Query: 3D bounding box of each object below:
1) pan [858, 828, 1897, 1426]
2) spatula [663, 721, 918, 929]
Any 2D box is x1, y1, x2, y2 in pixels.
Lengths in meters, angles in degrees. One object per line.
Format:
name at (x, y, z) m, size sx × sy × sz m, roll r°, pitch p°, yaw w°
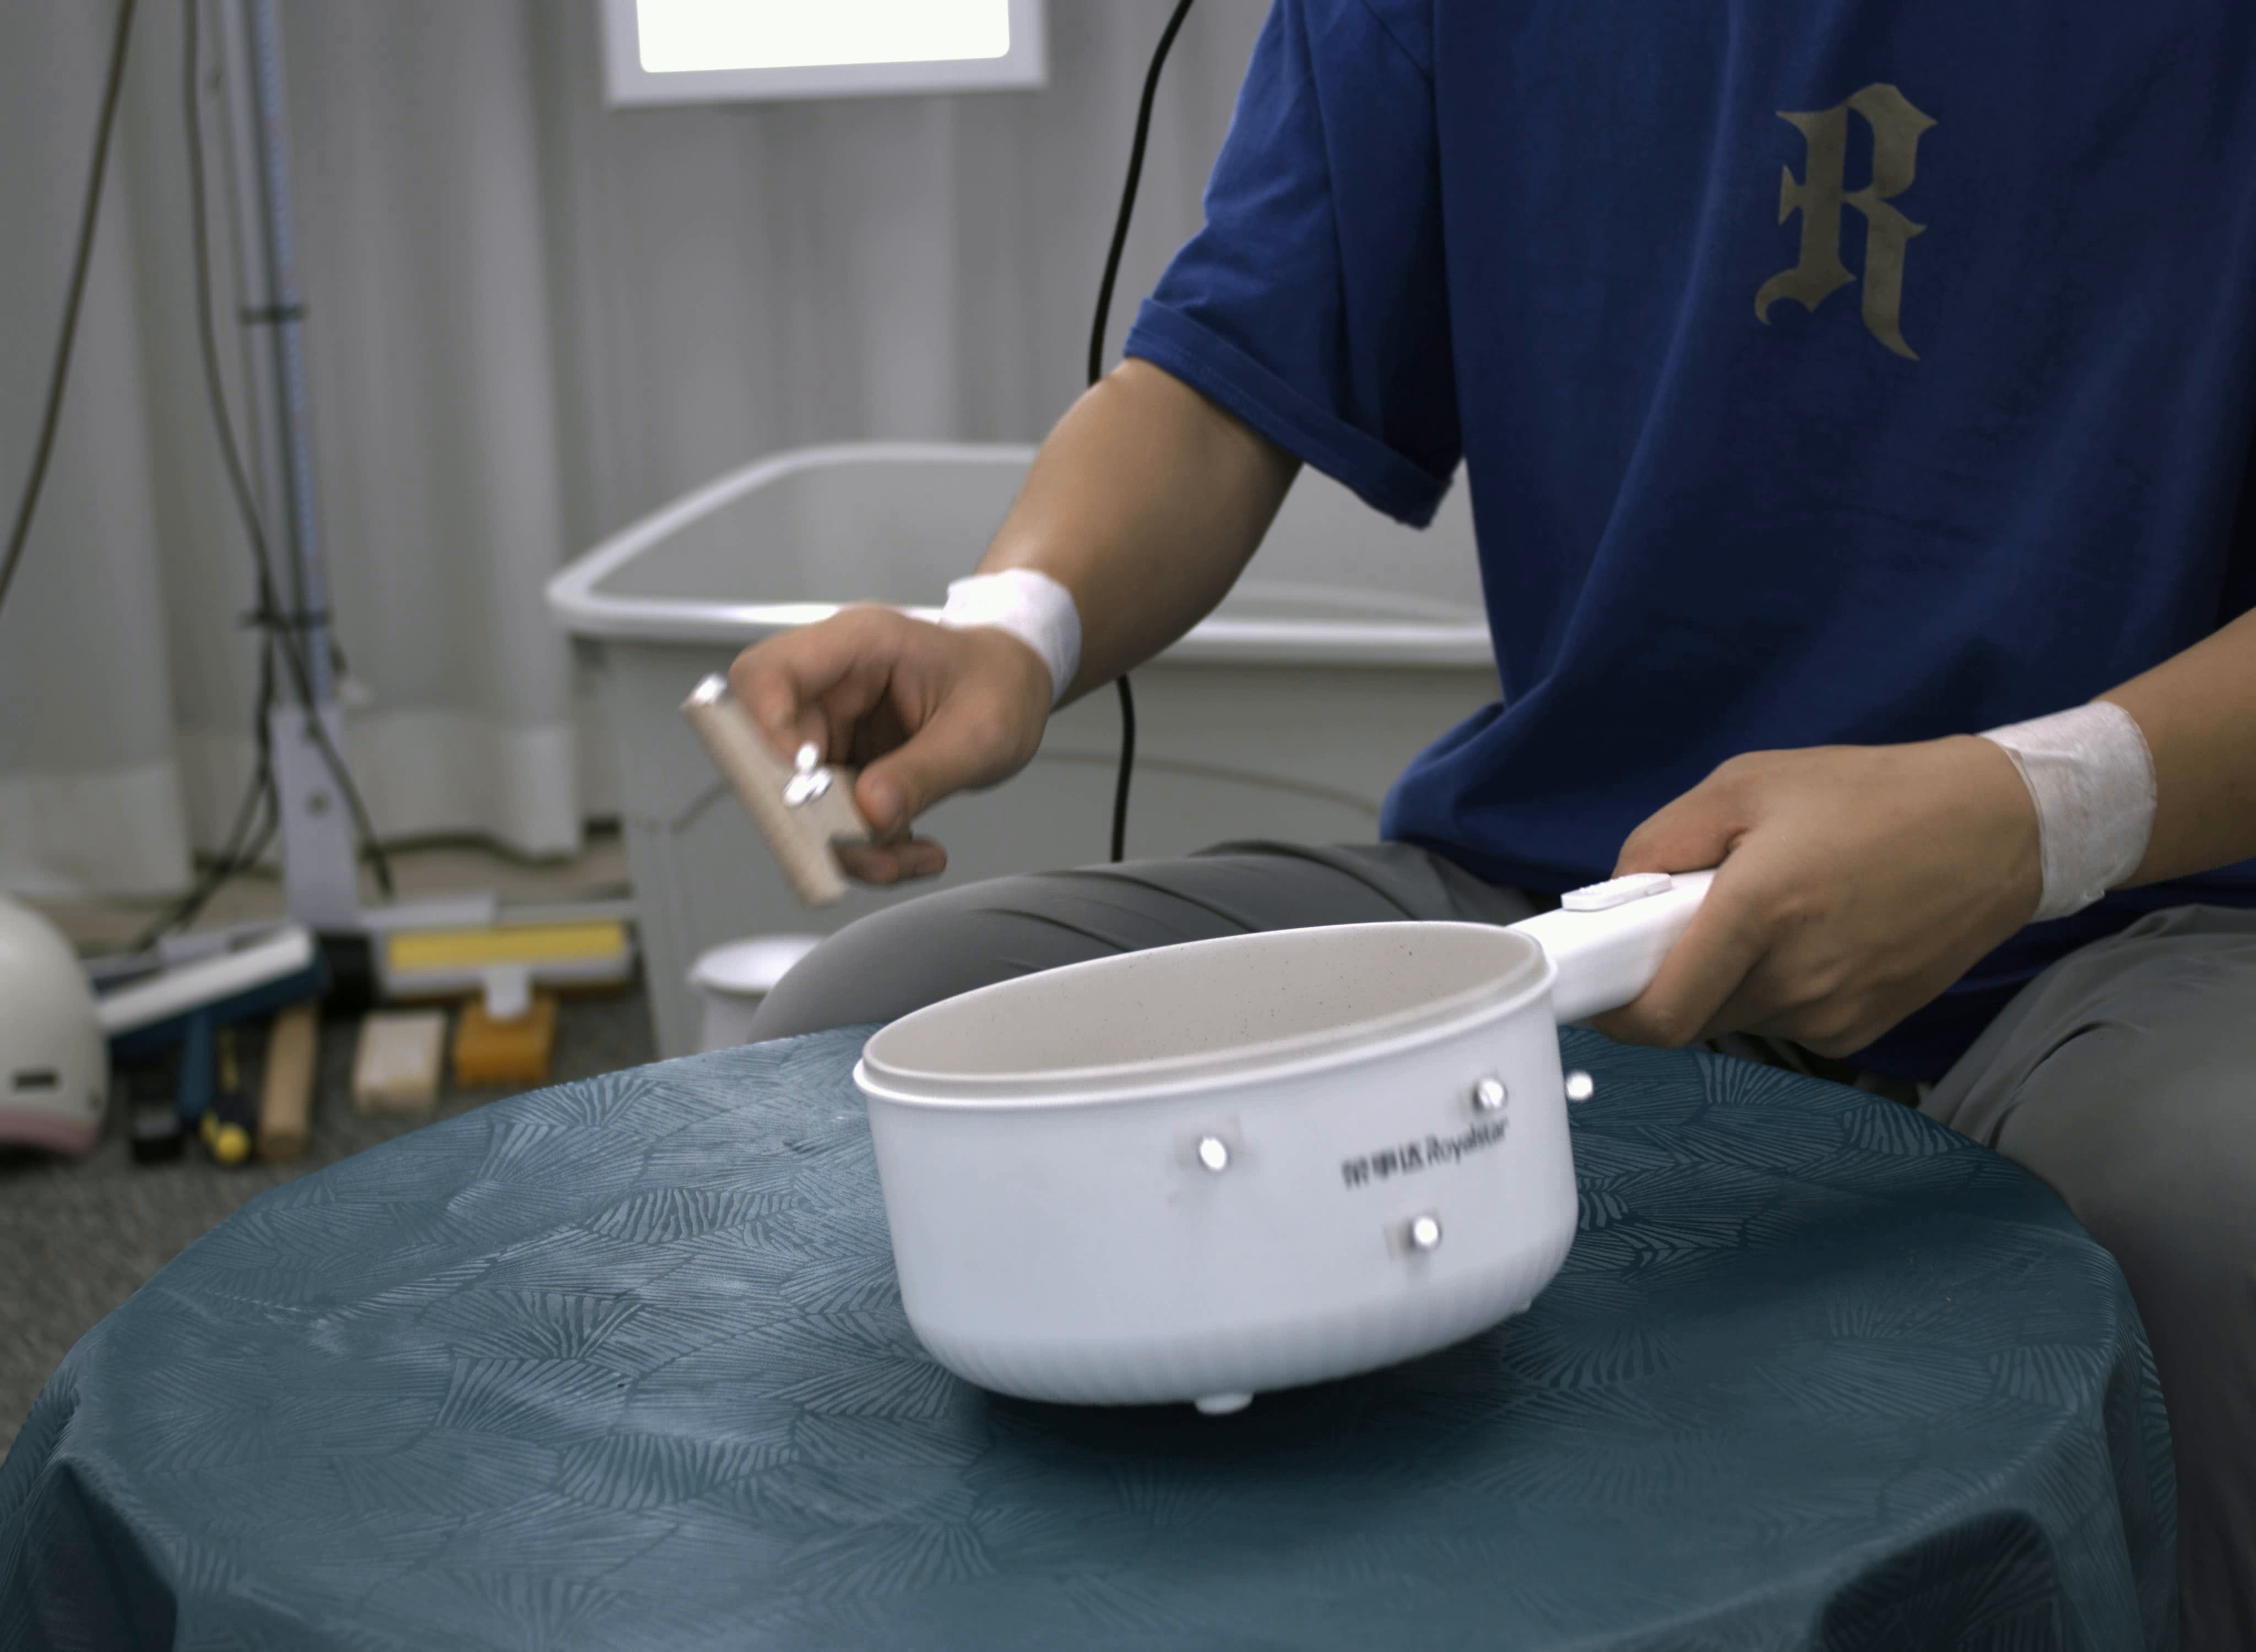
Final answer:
pan at (0.089, 0.084, 1.588) m, size 0.354 × 0.102 × 0.202 m, roll -15°, pitch 9°, yaw -36°
spatula at (-0.099, -0.001, 1.713) m, size 0.010 × 0.072 × 0.292 m, roll -35°, pitch -4°, yaw 6°
